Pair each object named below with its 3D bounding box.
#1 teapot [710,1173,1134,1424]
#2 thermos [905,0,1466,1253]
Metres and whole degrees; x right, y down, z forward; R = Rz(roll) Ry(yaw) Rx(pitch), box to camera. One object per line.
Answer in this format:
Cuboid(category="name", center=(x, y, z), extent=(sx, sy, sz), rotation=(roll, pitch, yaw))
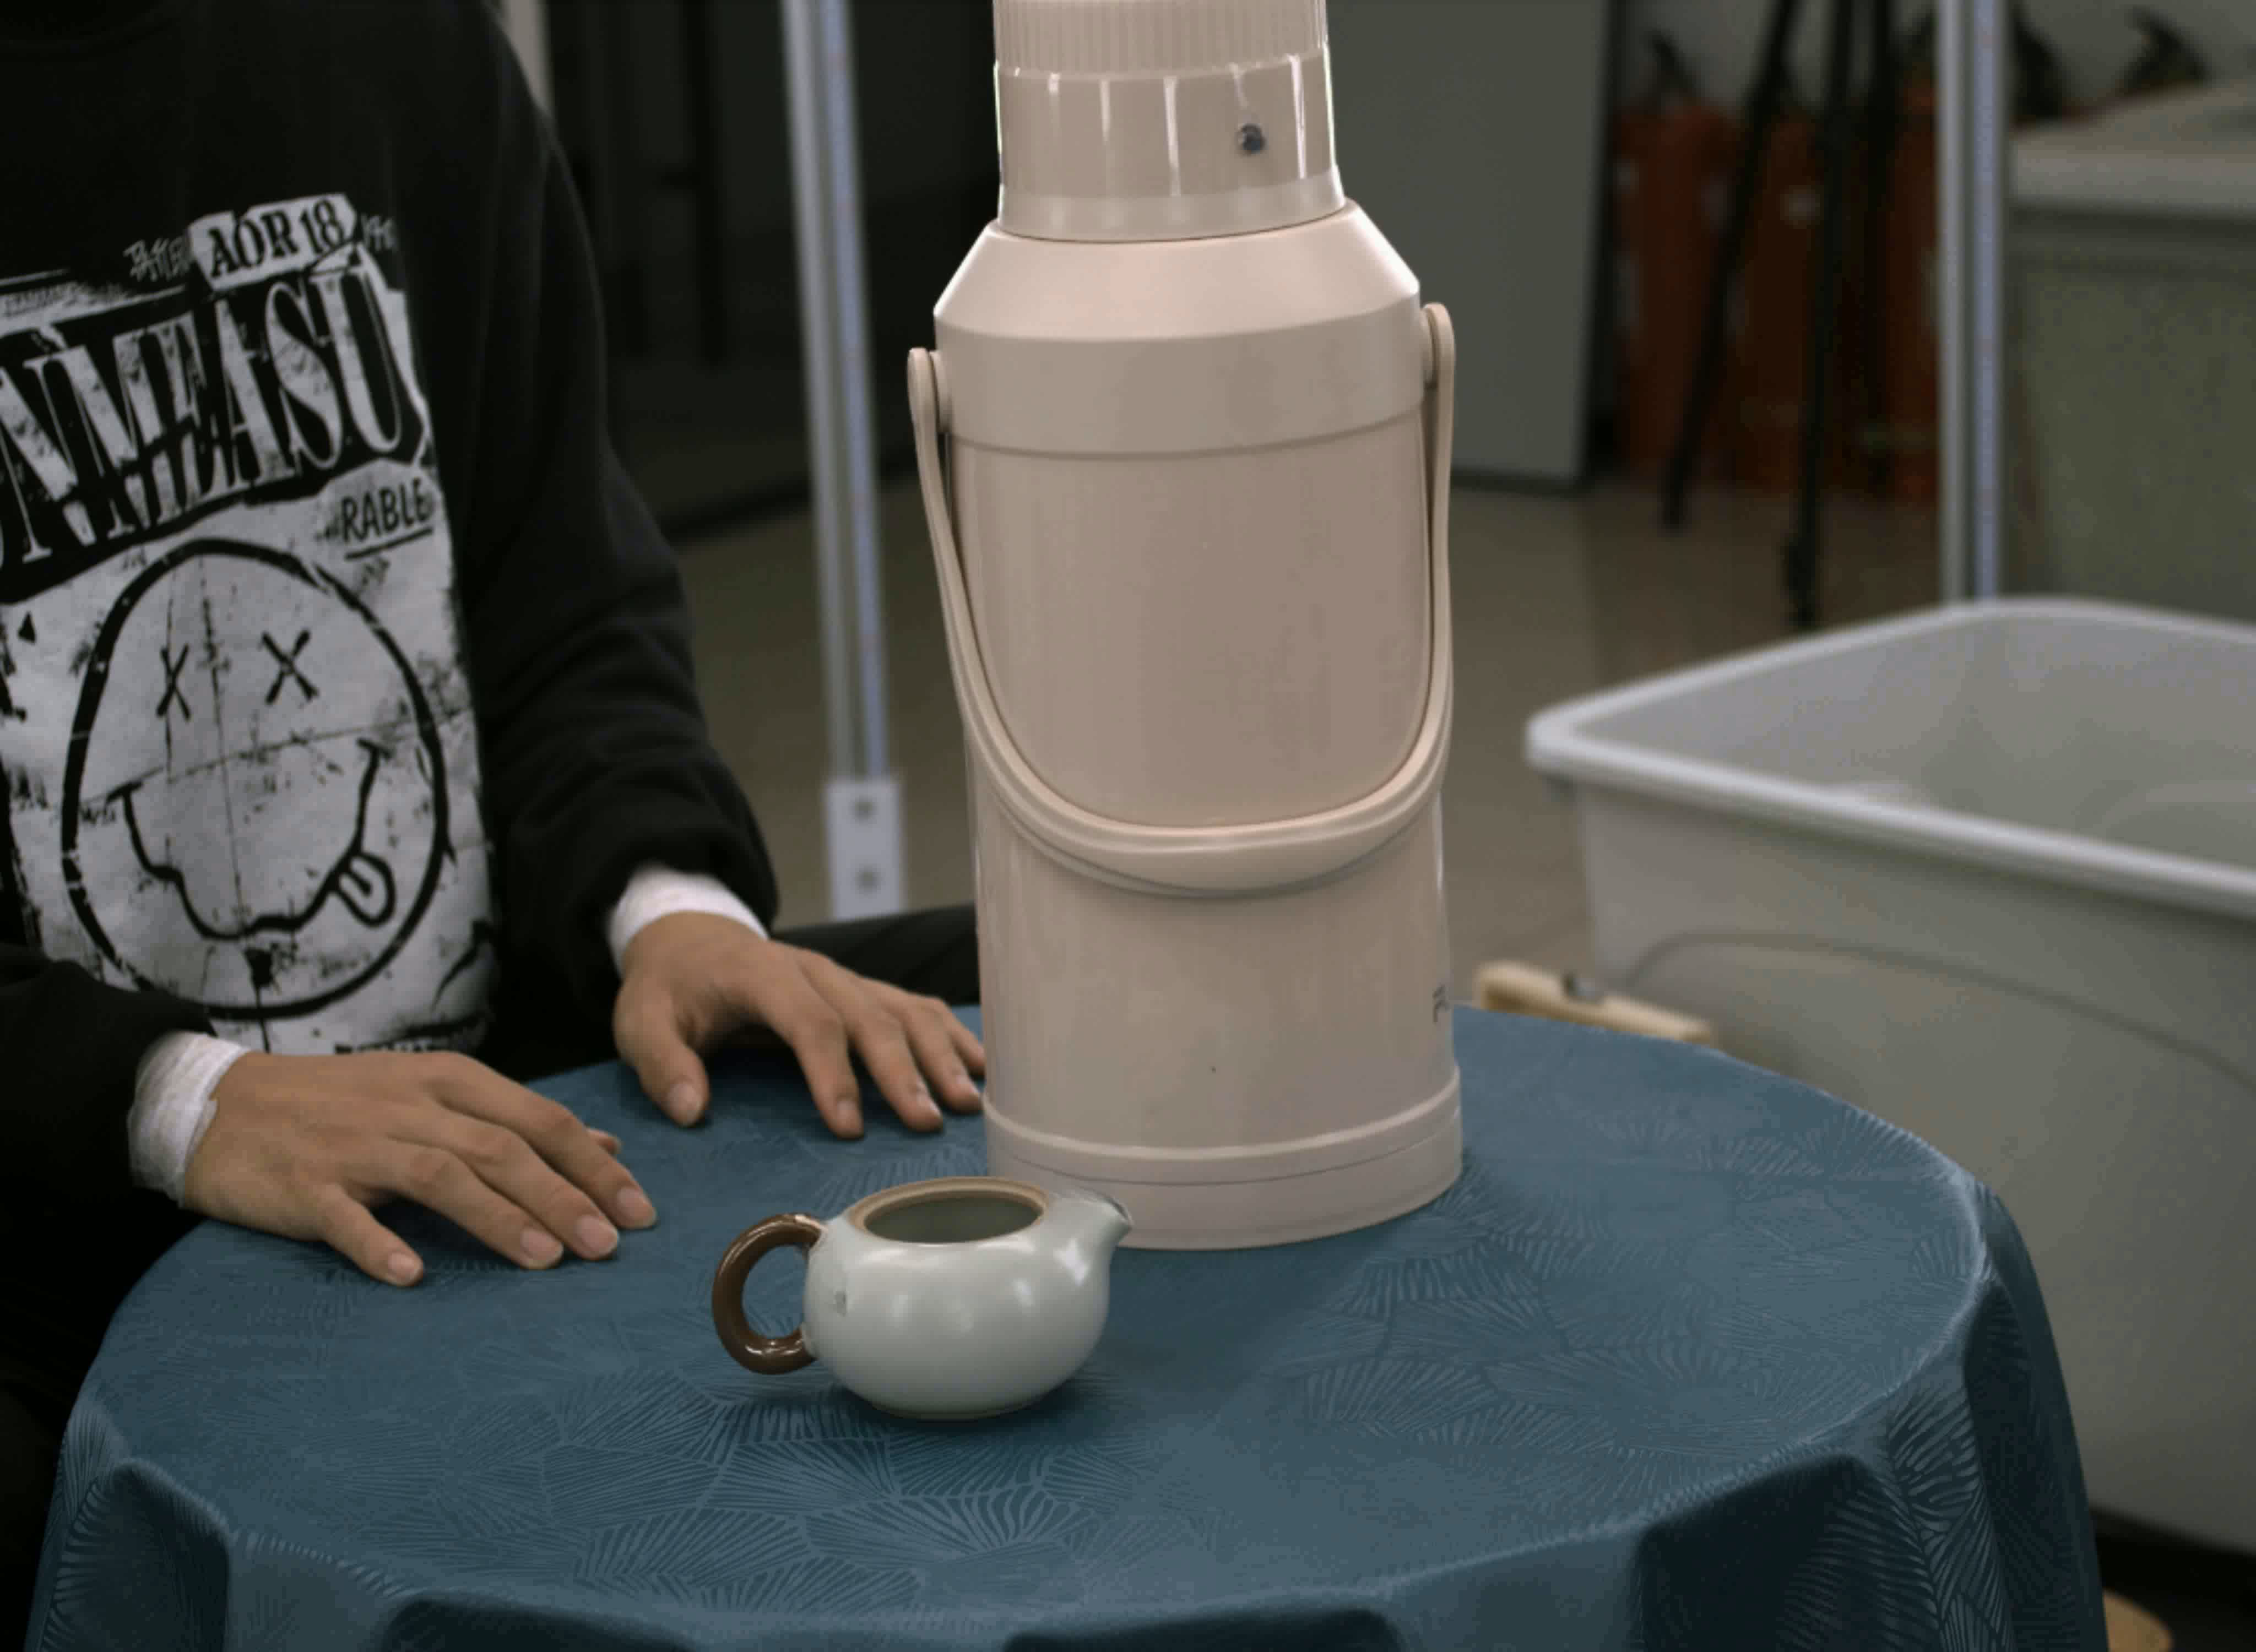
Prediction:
Cuboid(category="teapot", center=(-0.060, 0.140, 1.595), extent=(0.126, 0.060, 0.092), rotation=(-2, 17, 2))
Cuboid(category="thermos", center=(0.020, -0.081, 1.753), extent=(0.172, 0.410, 0.208), rotation=(-7, 14, -8))
